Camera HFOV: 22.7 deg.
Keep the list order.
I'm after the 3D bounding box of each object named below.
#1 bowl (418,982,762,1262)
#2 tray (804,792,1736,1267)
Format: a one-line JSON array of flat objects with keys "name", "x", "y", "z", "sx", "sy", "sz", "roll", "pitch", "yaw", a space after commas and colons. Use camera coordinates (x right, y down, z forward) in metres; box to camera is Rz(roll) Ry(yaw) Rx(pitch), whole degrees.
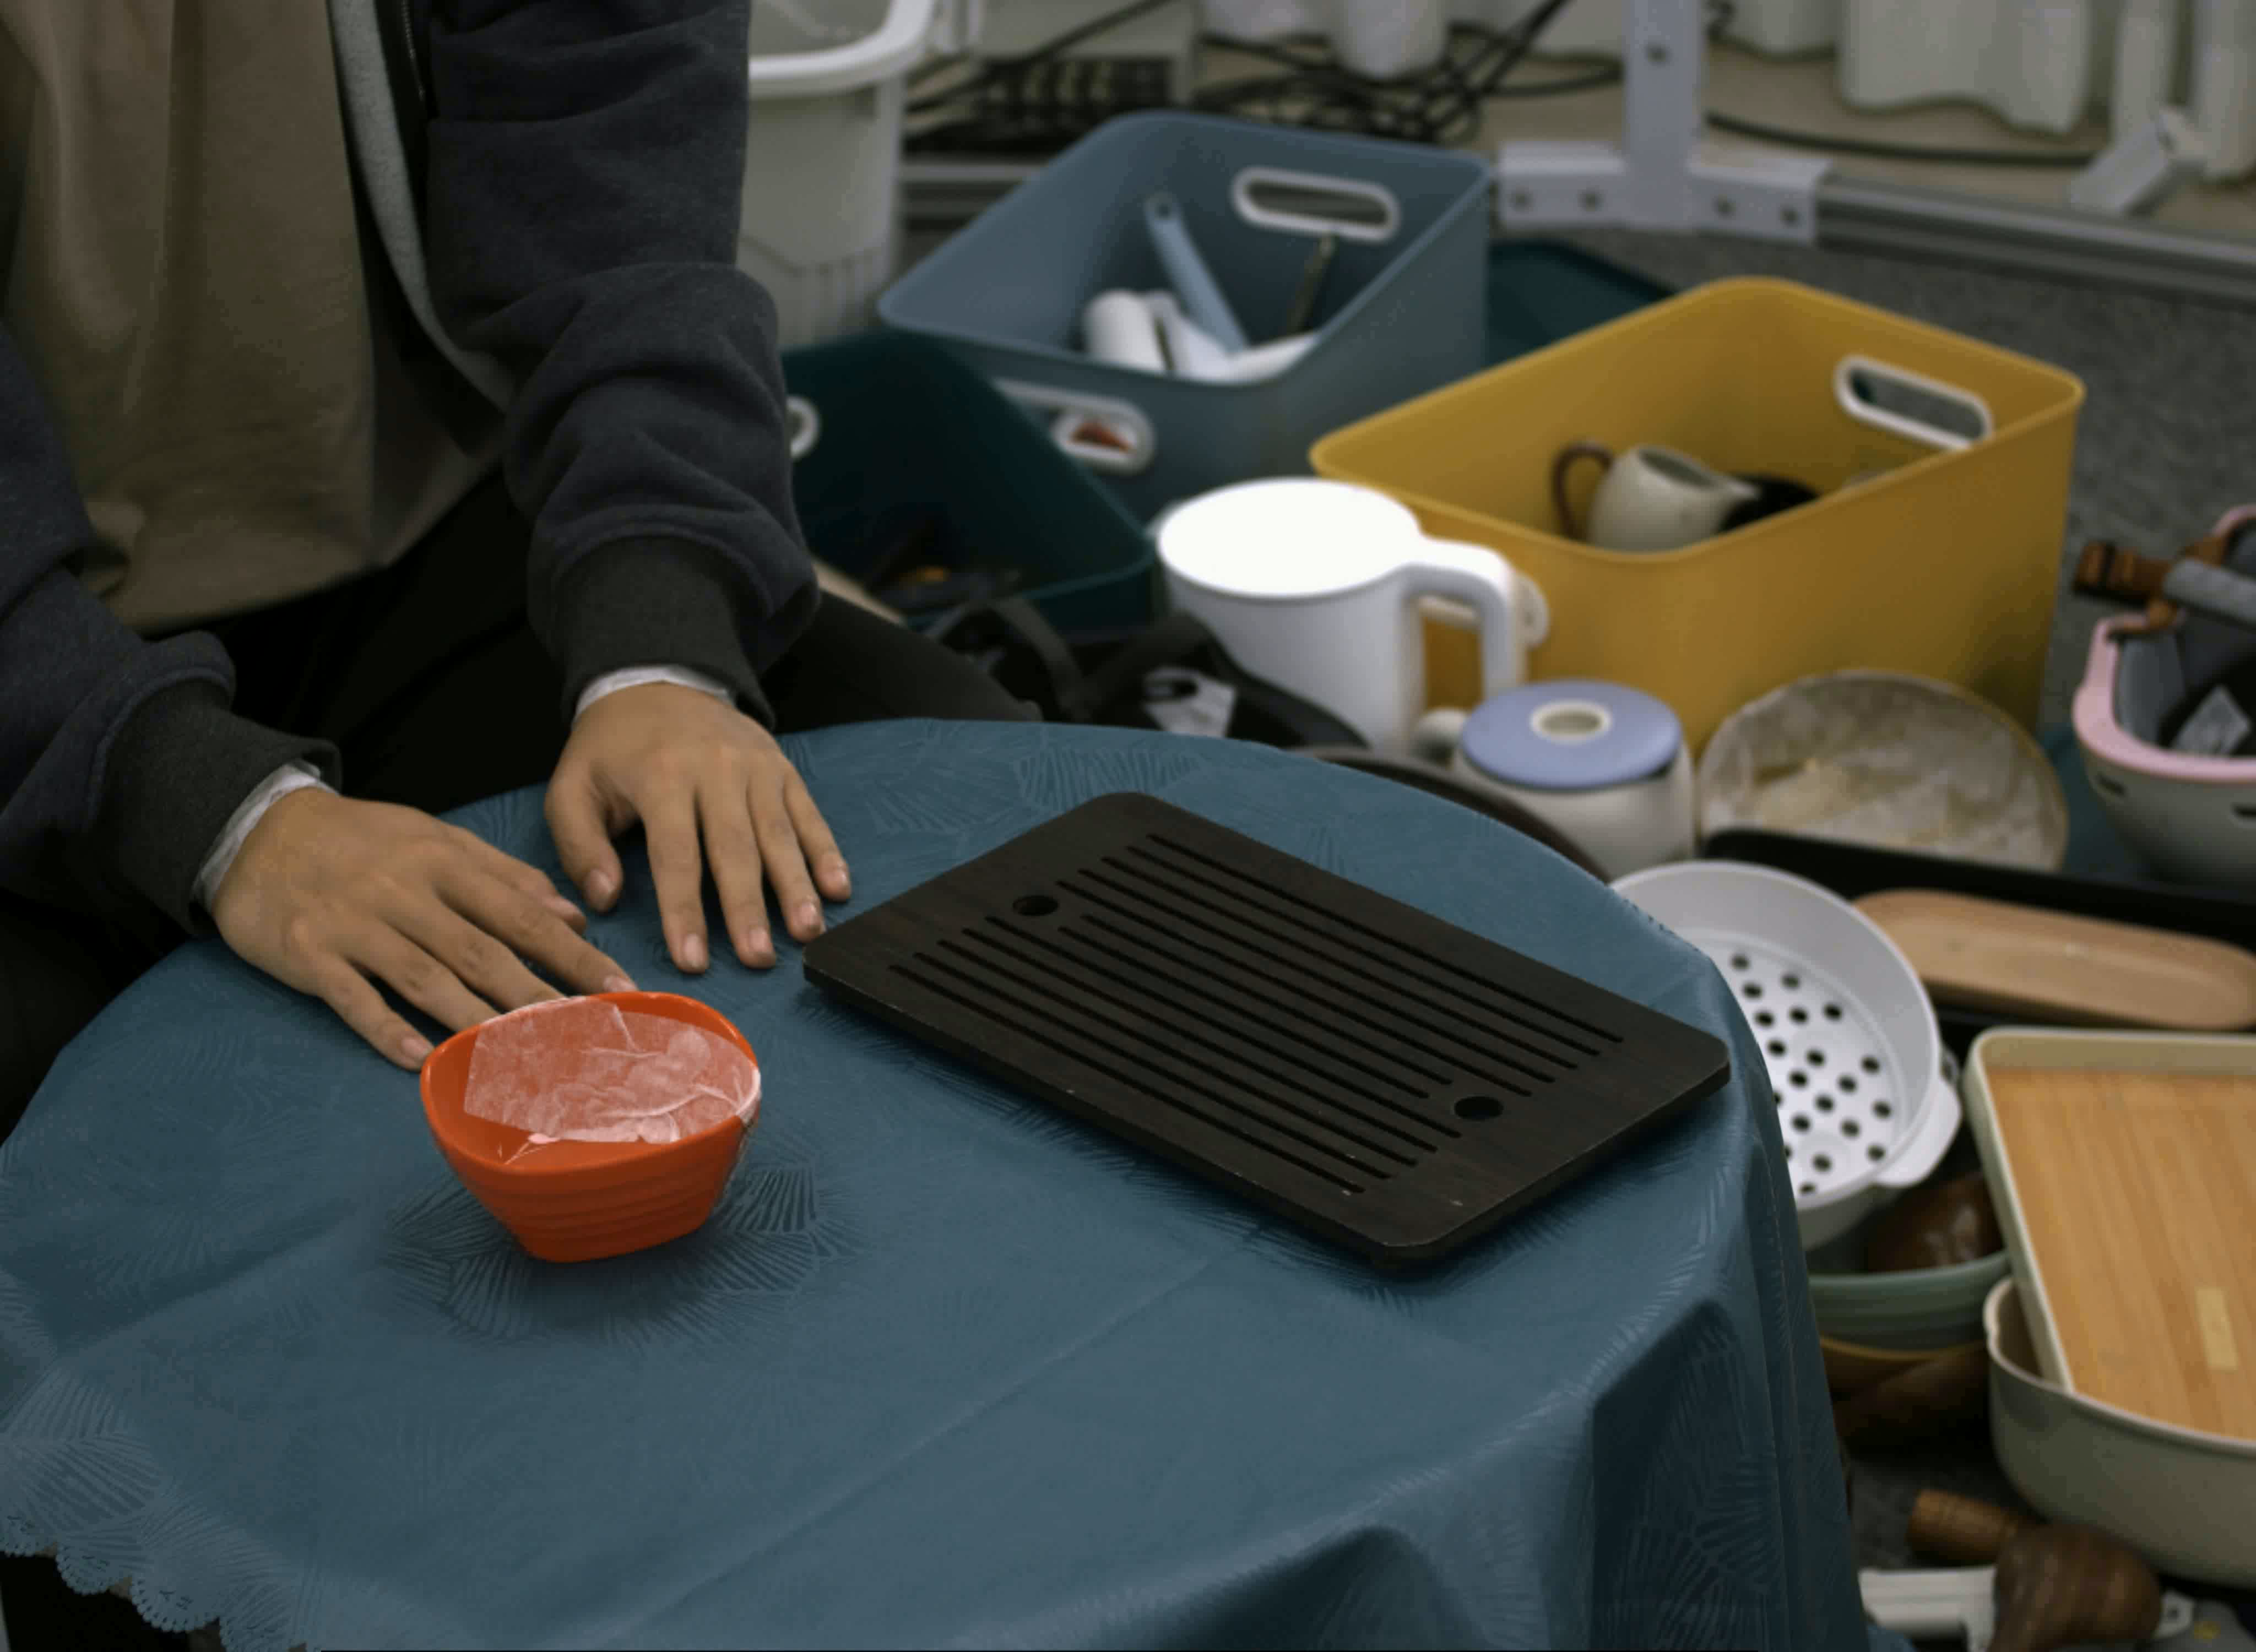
[{"name": "bowl", "x": -0.176, "y": 0.103, "z": 1.857, "sx": 0.118, "sy": 0.051, "sz": 0.121, "roll": -2, "pitch": 29, "yaw": 2}, {"name": "tray", "x": 0.045, "y": 0.067, "z": 1.944, "sx": 0.172, "sy": 0.018, "sz": 0.305, "roll": -26, "pitch": 35, "yaw": -37}]
